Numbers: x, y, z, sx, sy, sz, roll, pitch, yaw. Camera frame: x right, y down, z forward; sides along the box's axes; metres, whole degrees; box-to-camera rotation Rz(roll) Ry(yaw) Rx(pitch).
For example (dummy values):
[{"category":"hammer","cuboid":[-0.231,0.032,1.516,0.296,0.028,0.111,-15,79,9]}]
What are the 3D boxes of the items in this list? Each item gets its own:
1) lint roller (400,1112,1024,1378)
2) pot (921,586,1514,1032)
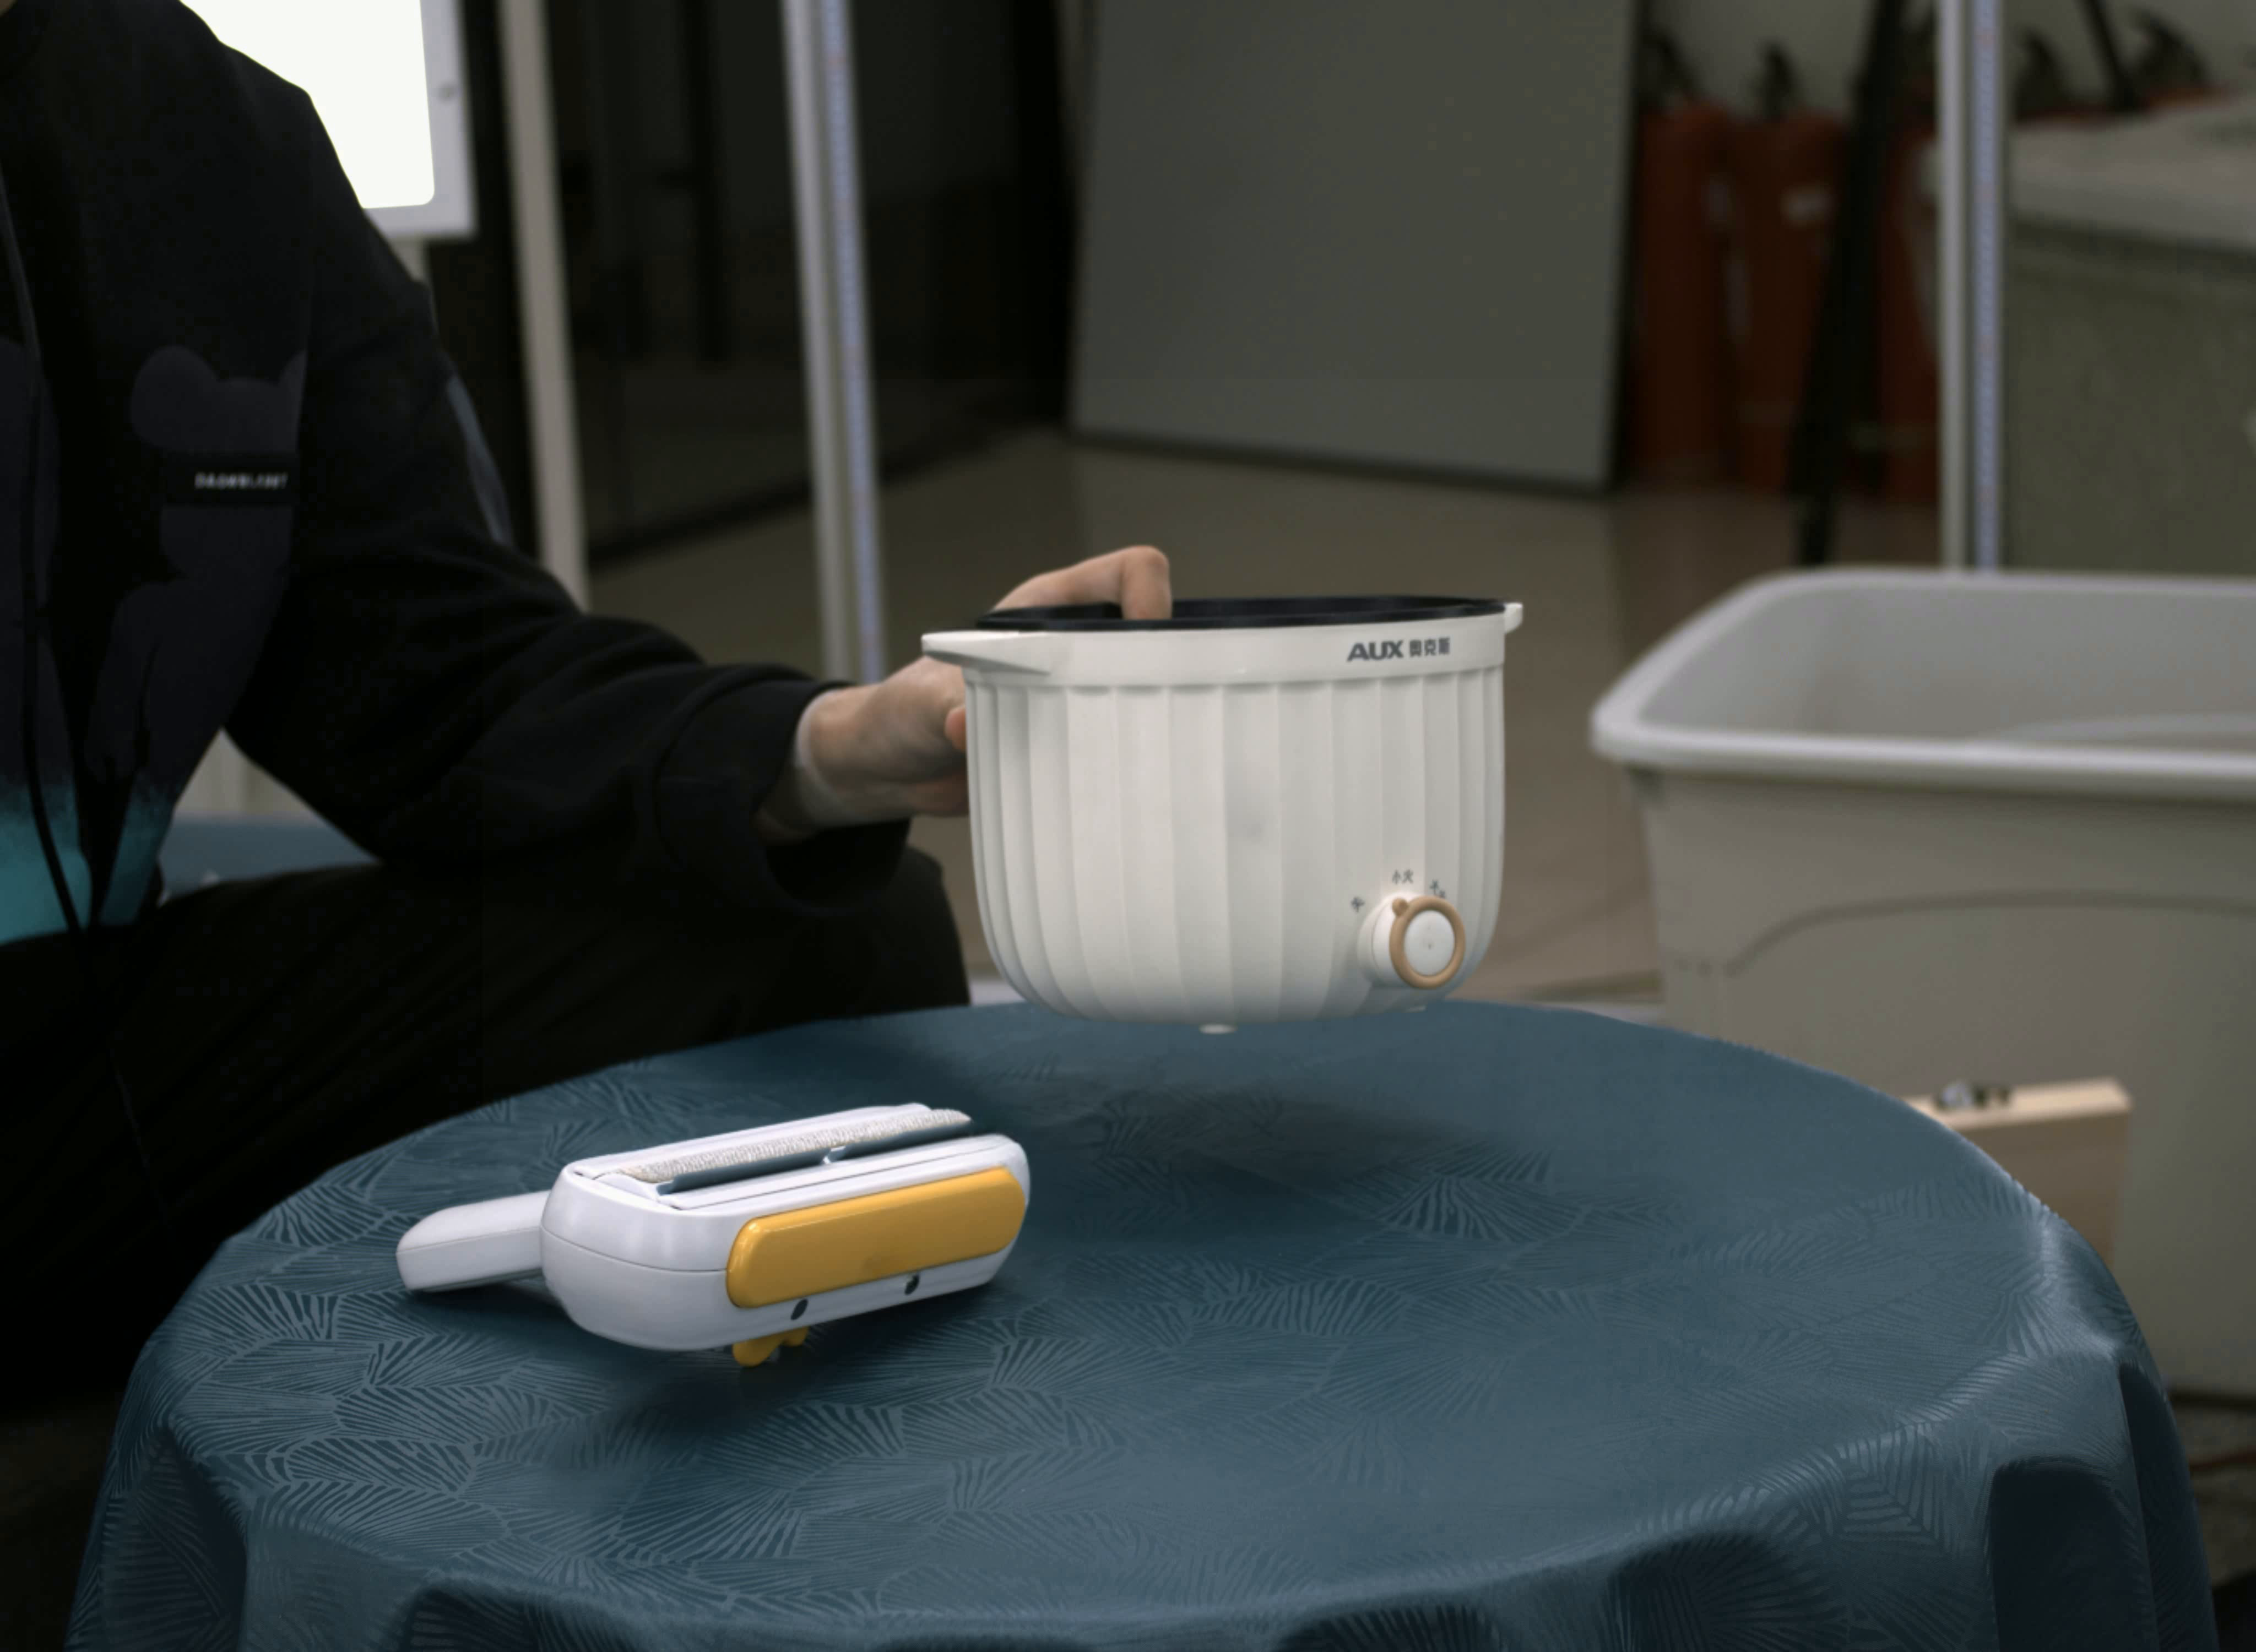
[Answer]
[{"category":"lint roller","cuboid":[-0.151,0.124,1.663,0.194,0.075,0.189,5,10,39]},{"category":"pot","cuboid":[0.040,-0.007,1.778,0.235,0.144,0.192,-6,2,-35]}]
